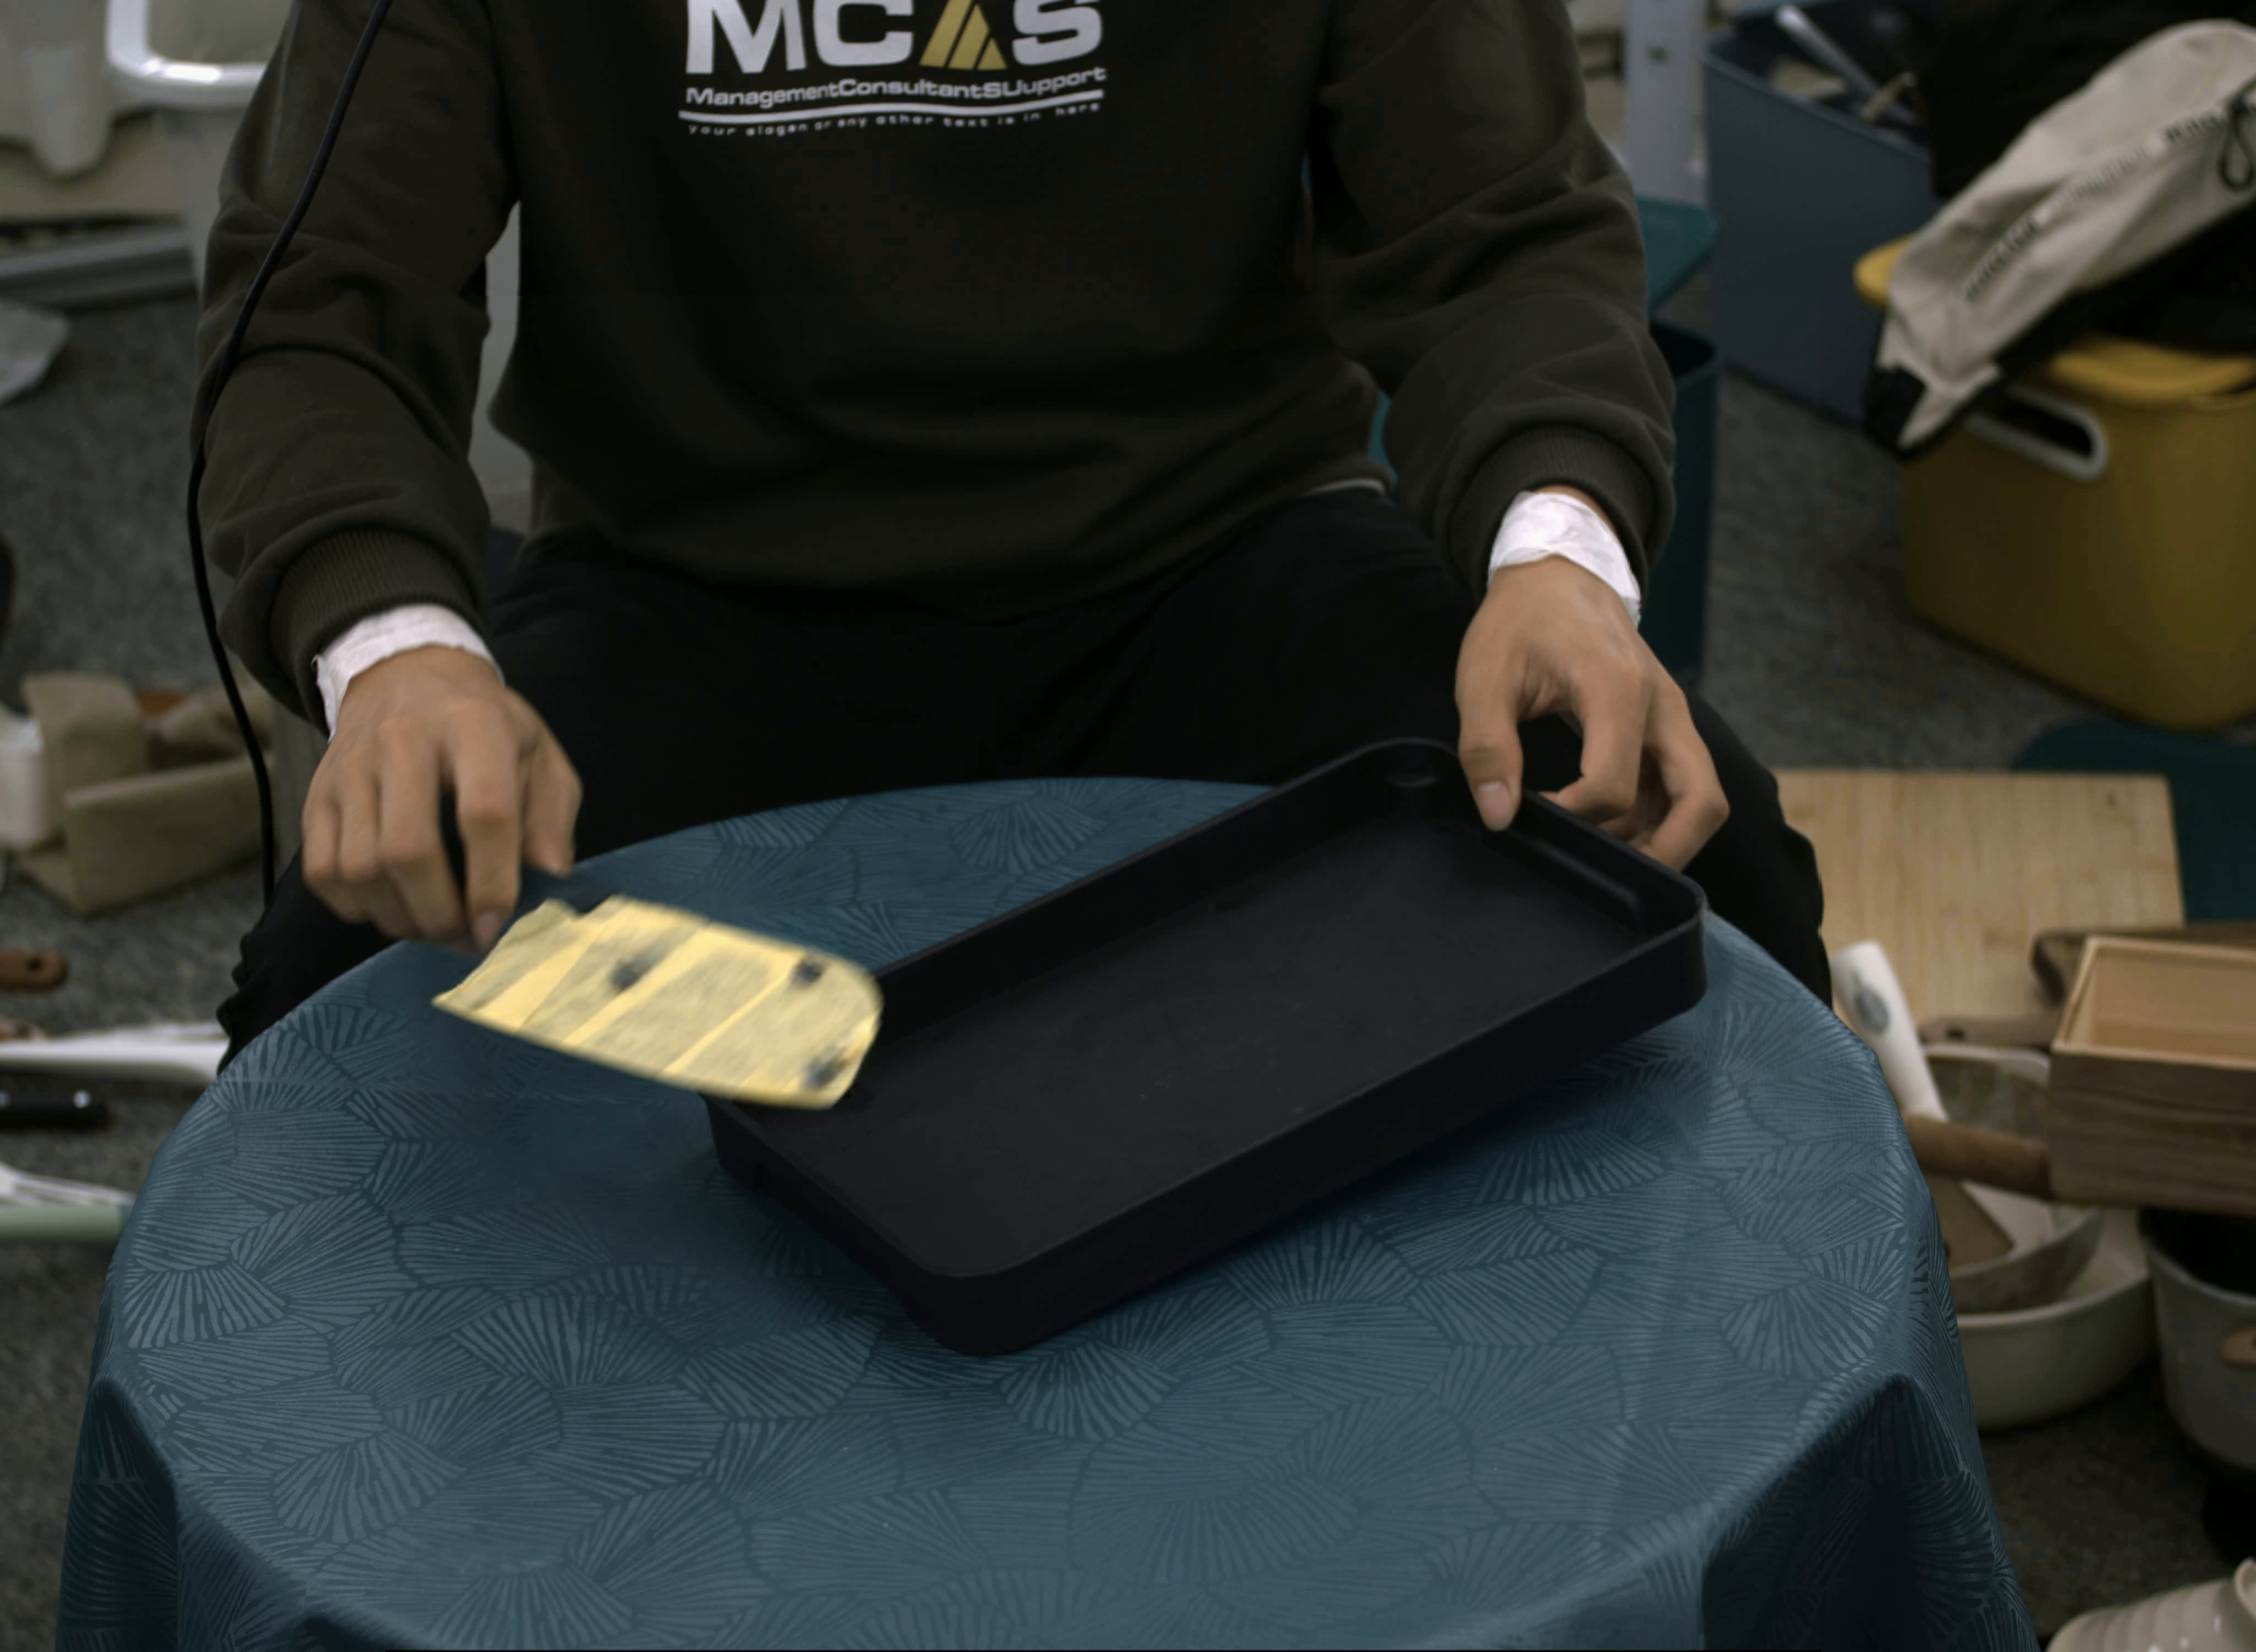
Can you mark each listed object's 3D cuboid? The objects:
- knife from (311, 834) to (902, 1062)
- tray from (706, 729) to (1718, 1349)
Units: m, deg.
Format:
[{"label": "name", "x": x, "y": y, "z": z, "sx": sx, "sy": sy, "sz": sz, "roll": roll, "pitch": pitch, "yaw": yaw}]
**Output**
[{"label": "knife", "x": -0.178, "y": 0.040, "z": 1.826, "sx": 0.288, "sy": 0.027, "sz": 0.082, "roll": 13, "pitch": 38, "yaw": 43}, {"label": "tray", "x": 0.031, "y": 0.066, "z": 1.900, "sx": 0.321, "sy": 0.036, "sz": 0.184, "roll": -26, "pitch": 33, "yaw": -28}]
